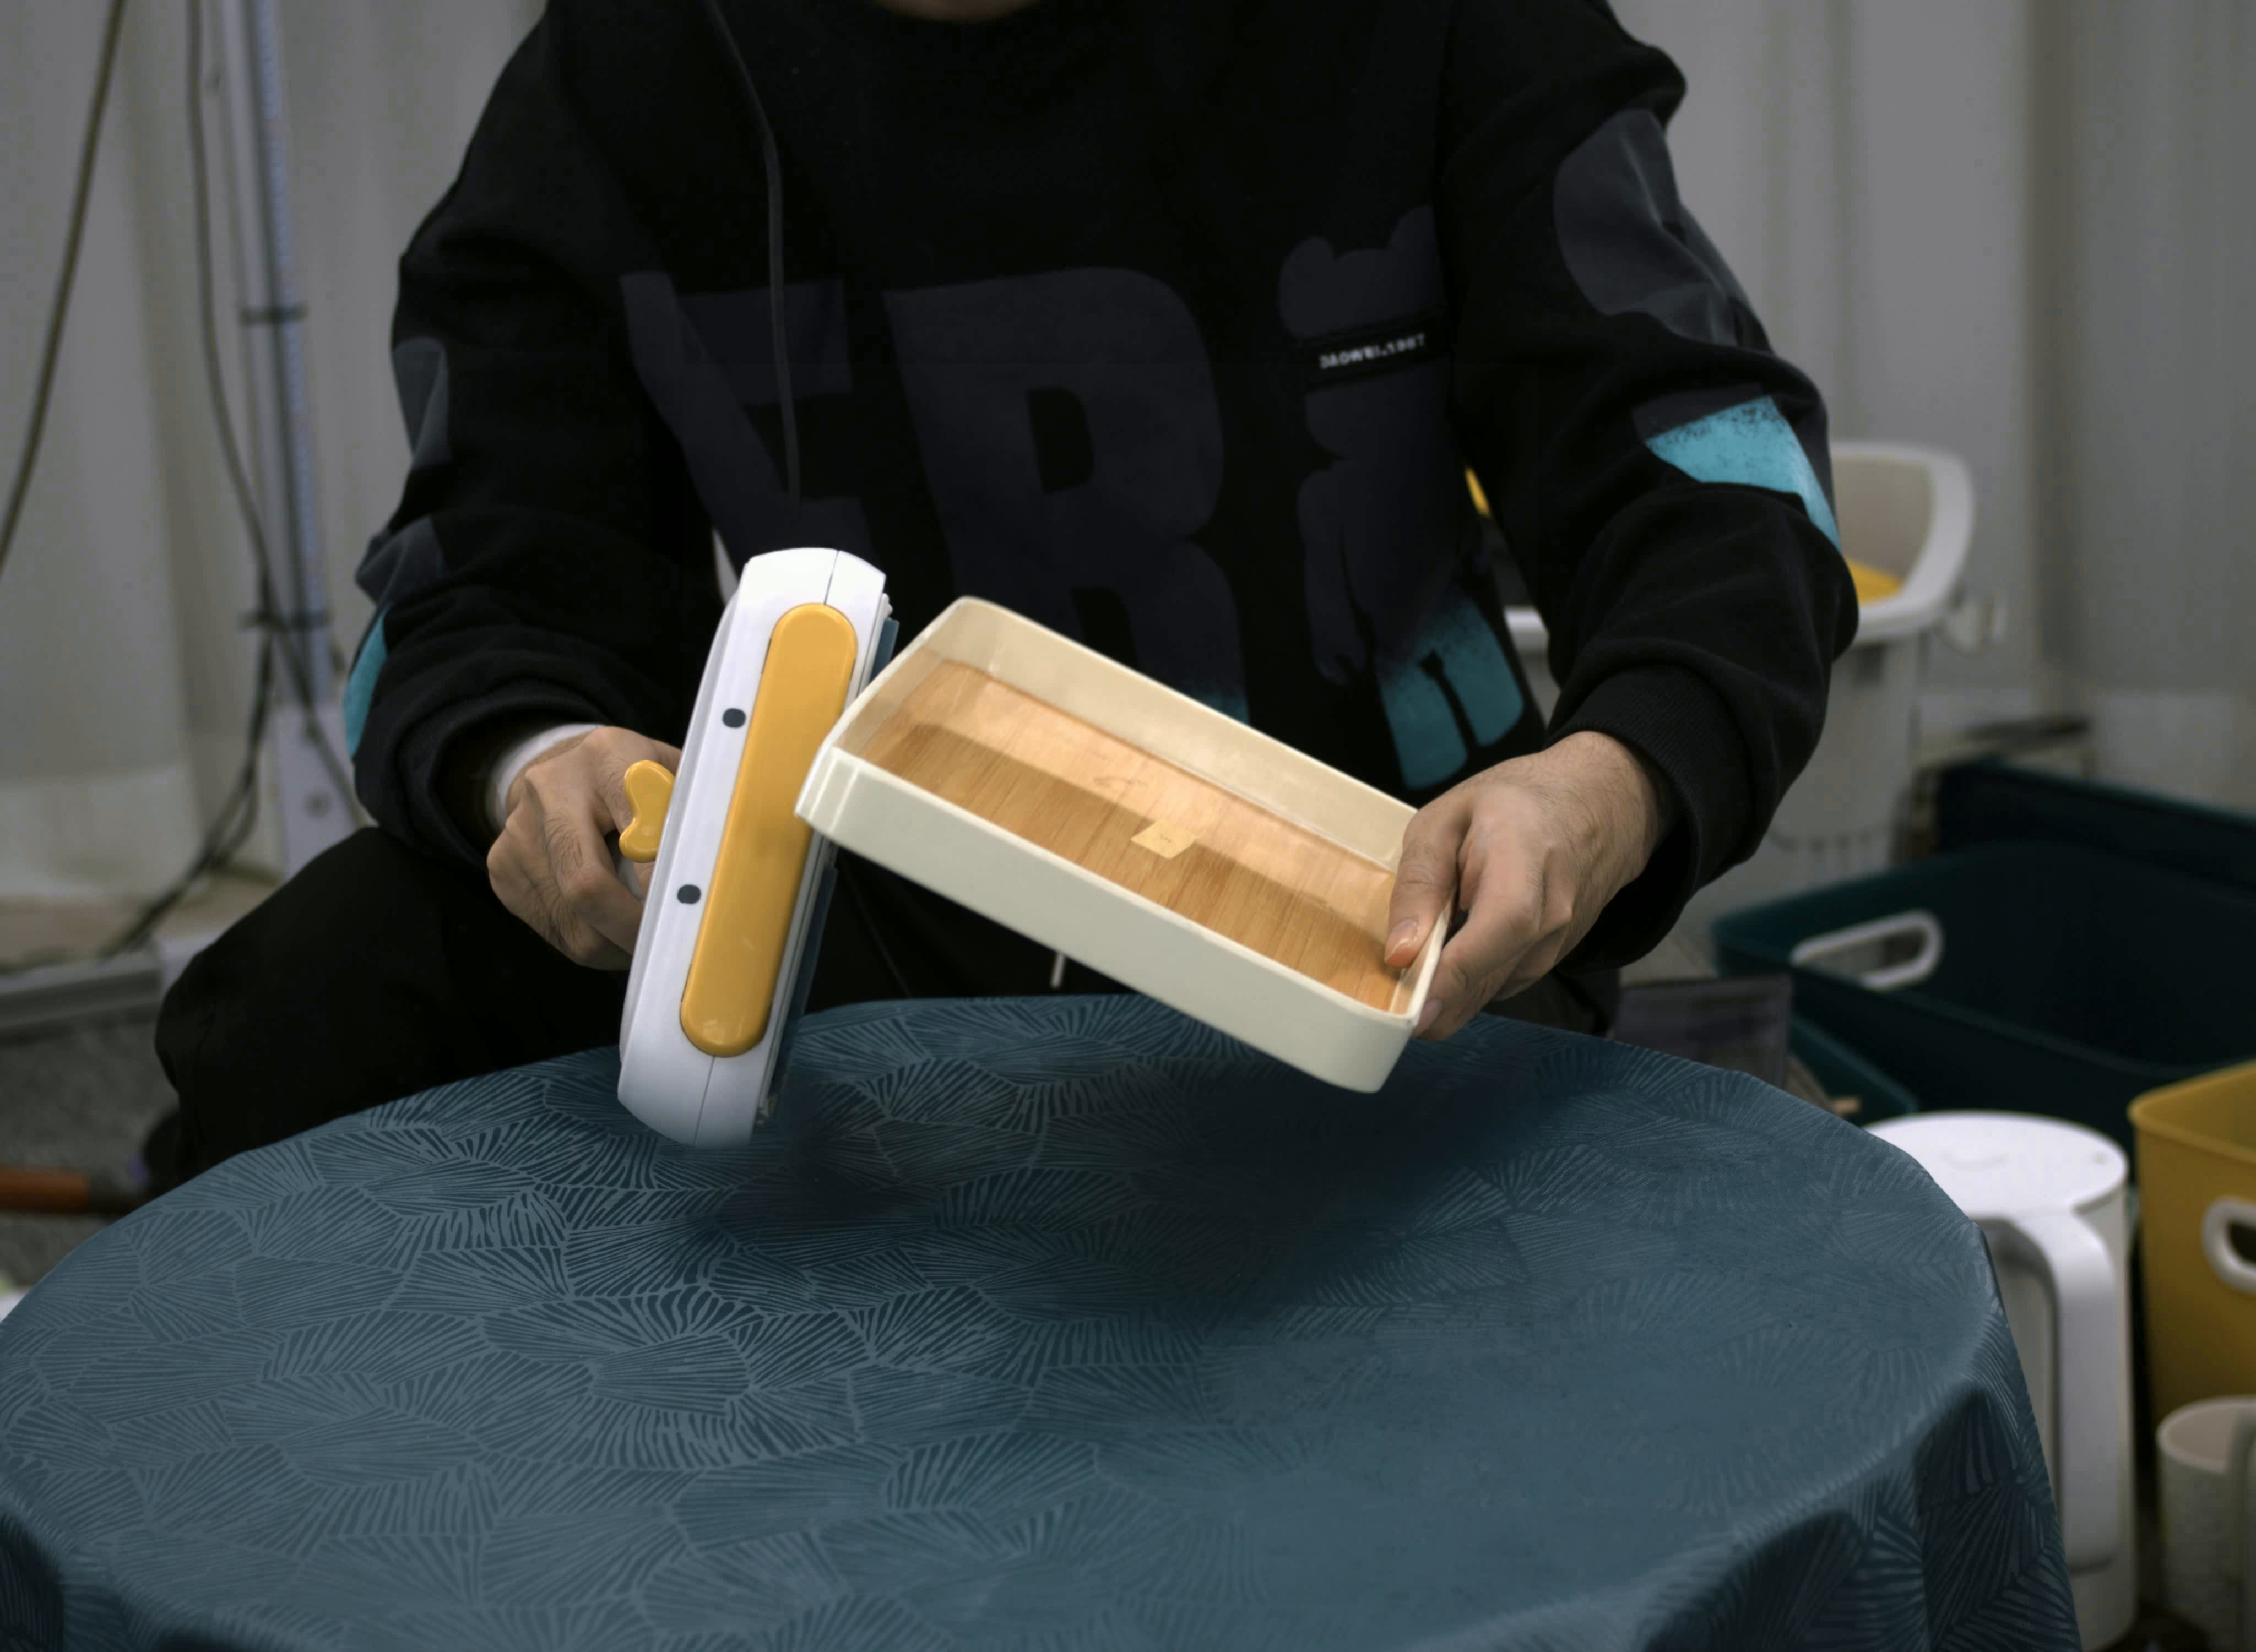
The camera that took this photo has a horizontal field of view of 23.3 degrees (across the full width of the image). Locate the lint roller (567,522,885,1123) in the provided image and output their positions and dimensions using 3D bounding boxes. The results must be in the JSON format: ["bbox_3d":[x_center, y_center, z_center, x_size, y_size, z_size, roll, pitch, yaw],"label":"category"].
[{"bbox_3d":[-0.138,0.010,1.770,0.074,0.195,0.191,11,-16,-12],"label":"lint roller"}]

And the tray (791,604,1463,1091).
[{"bbox_3d":[0.007,0.001,1.697,0.191,0.027,0.301,26,12,2],"label":"tray"}]
